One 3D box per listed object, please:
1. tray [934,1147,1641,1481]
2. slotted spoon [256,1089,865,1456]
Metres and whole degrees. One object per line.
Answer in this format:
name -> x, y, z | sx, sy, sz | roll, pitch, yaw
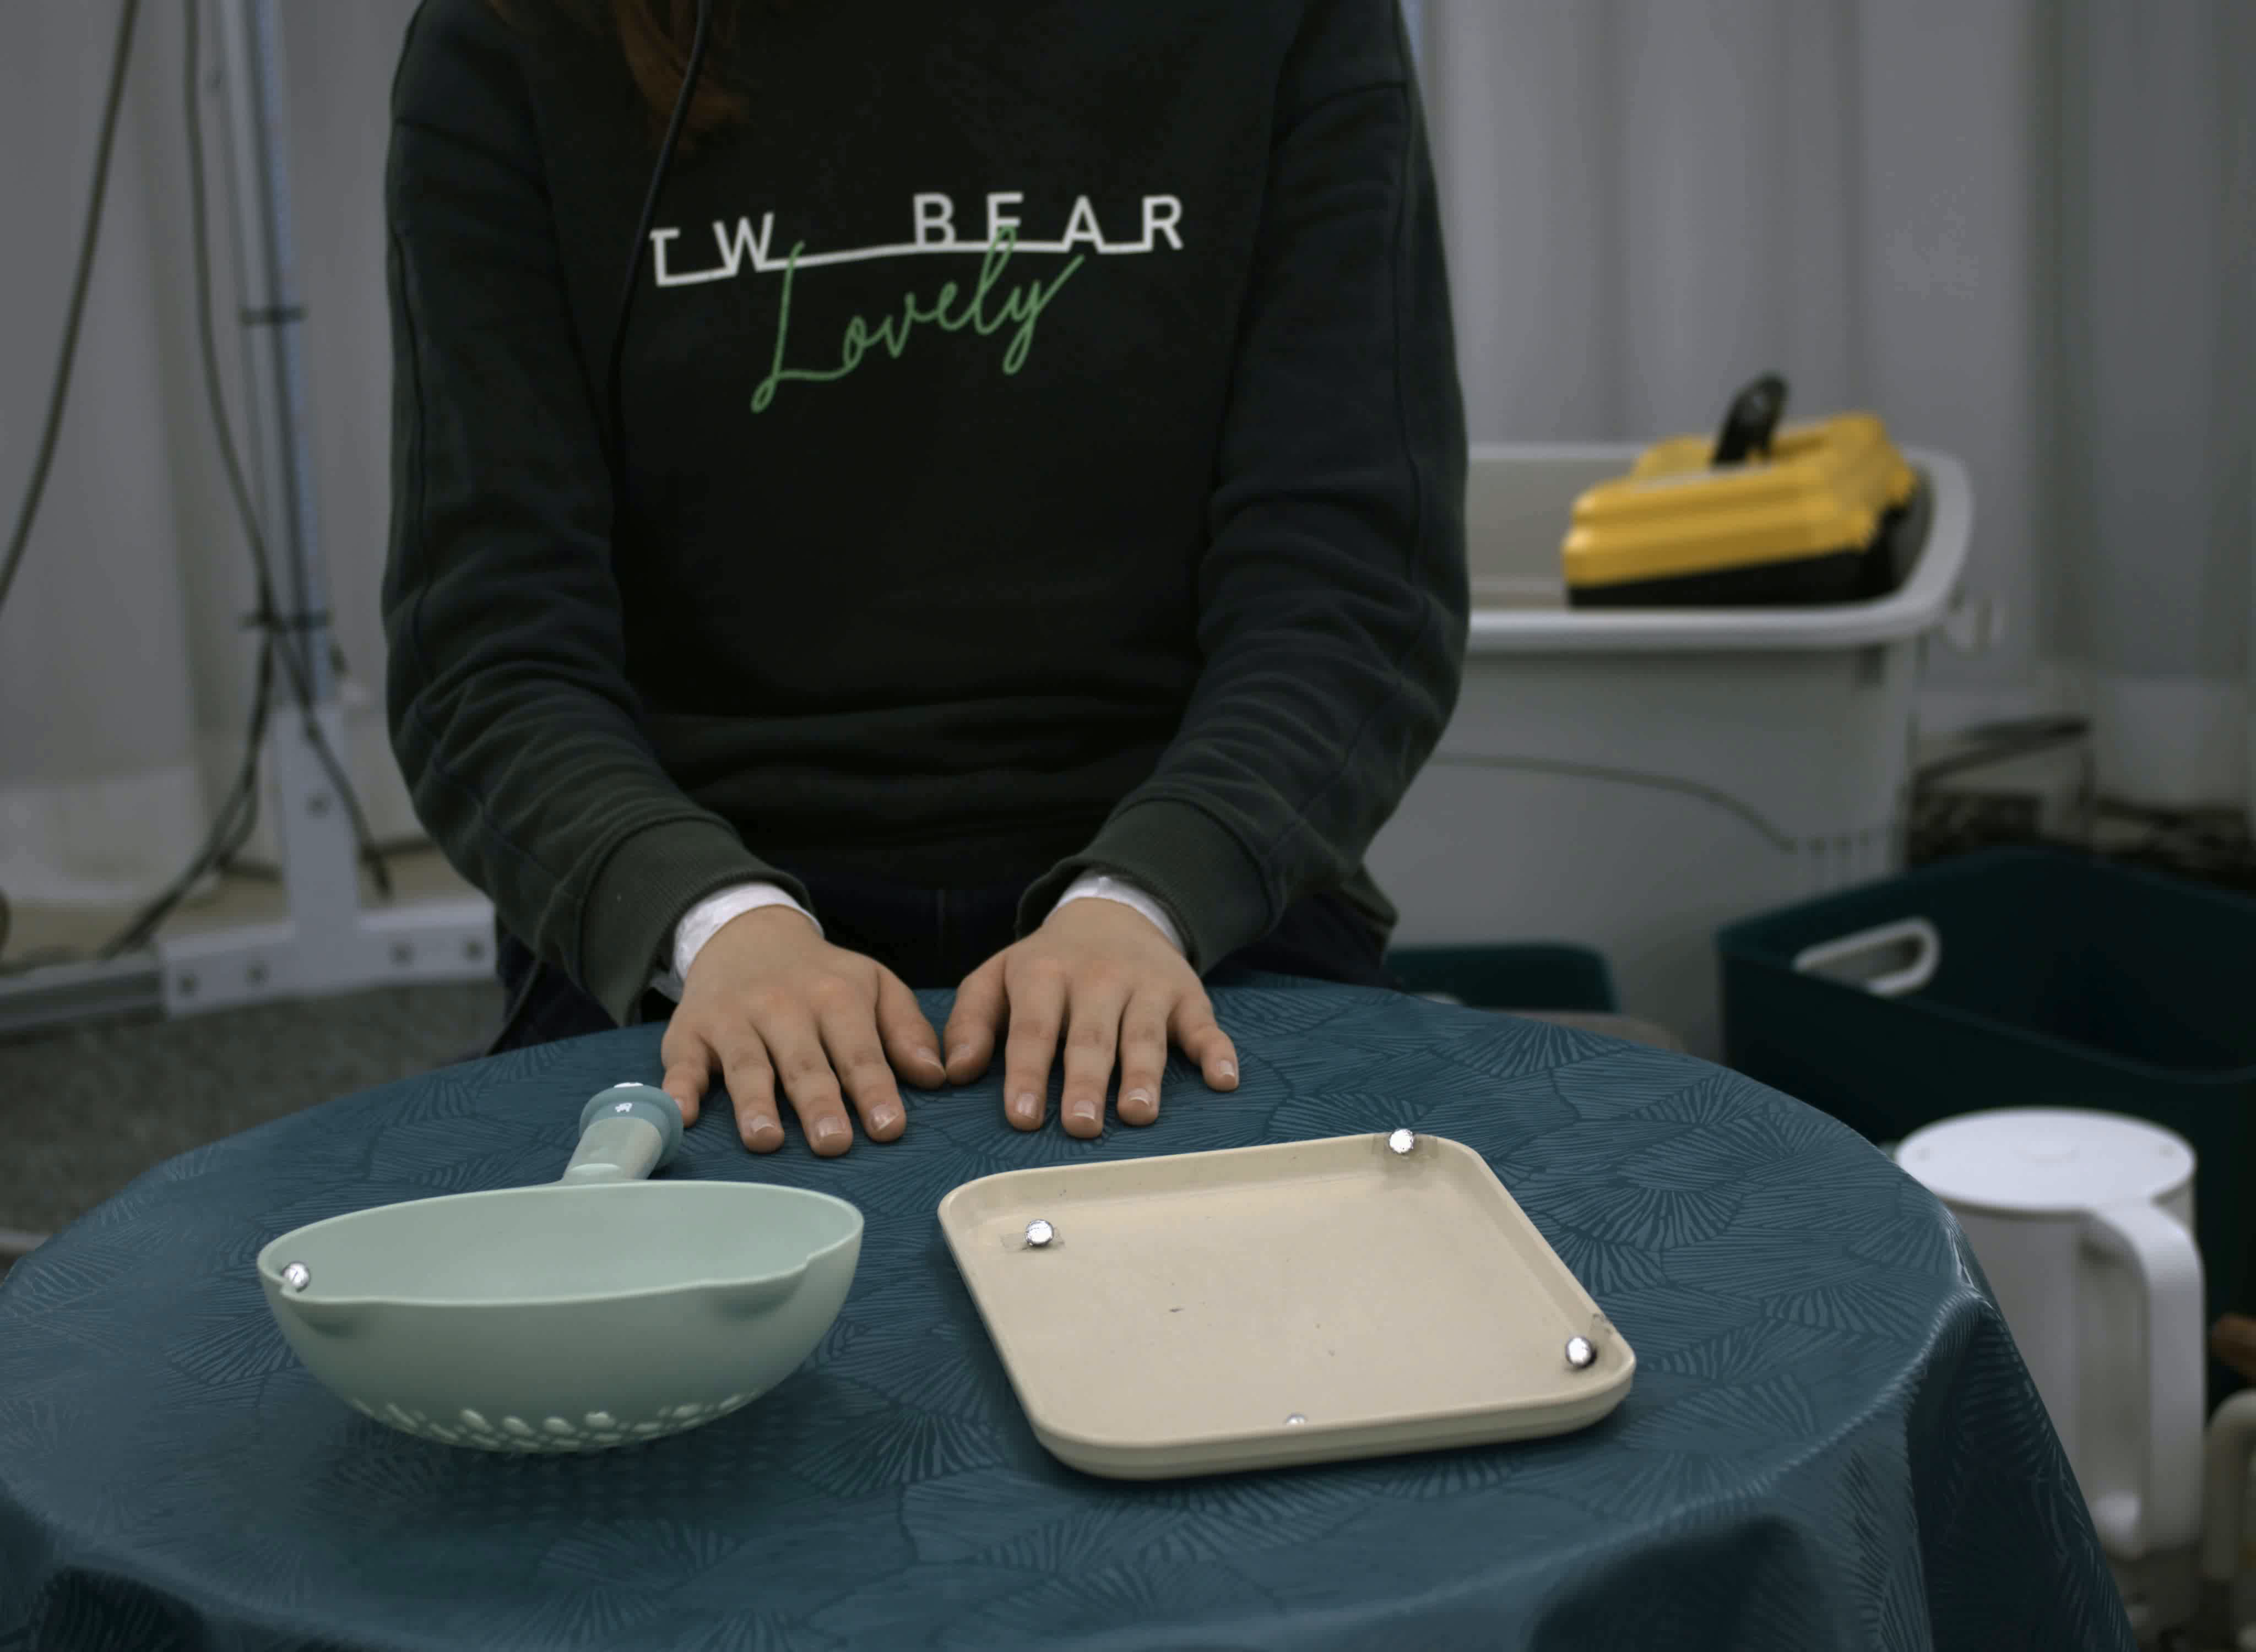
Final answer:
tray -> 0.042, 0.140, 1.582 | 0.170, 0.017, 0.241 | -5, 14, -9
slotted spoon -> -0.157, 0.116, 1.618 | 0.169, 0.075, 0.361 | -2, 14, 0
